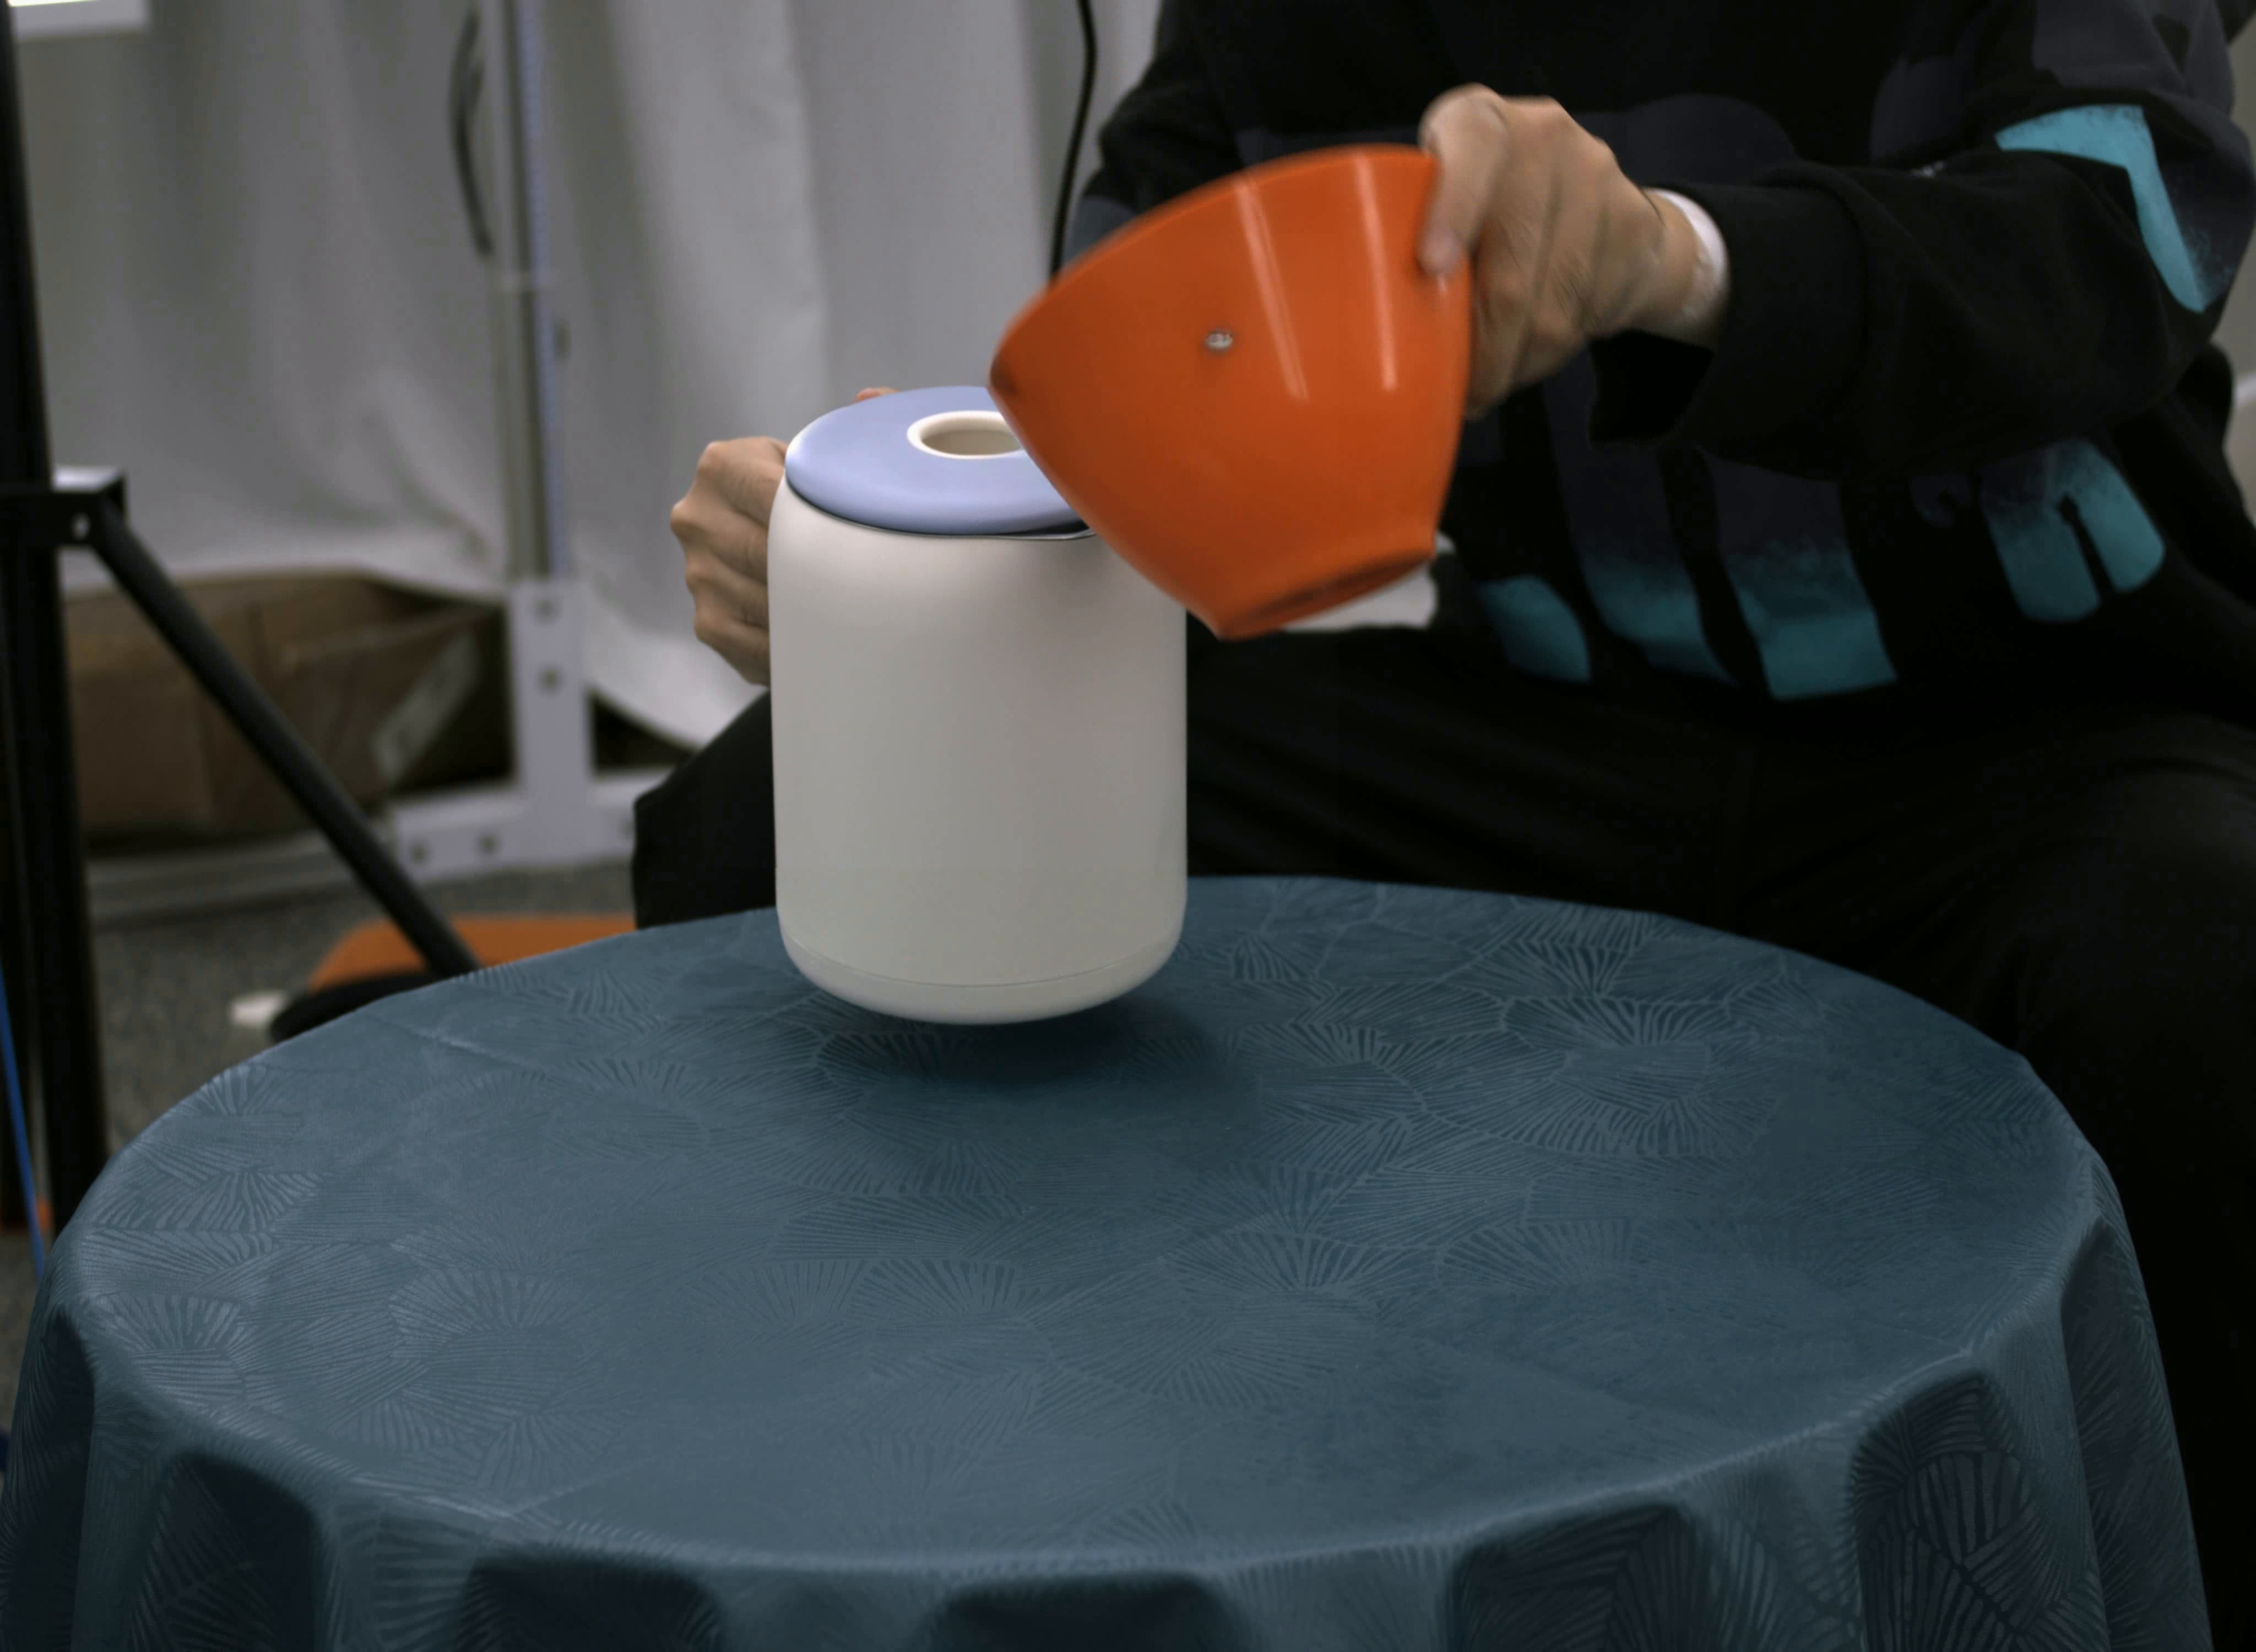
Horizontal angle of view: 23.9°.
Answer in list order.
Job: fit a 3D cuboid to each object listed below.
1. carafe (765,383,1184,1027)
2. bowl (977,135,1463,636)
[{"bbox_3d":[-0.061,-0.046,1.697,0.129,0.182,0.195,-13,24,-29],"label":"carafe"},{"bbox_3d":[0.039,-0.116,1.507,0.147,0.105,0.148,-19,-9,-5],"label":"bowl"}]
